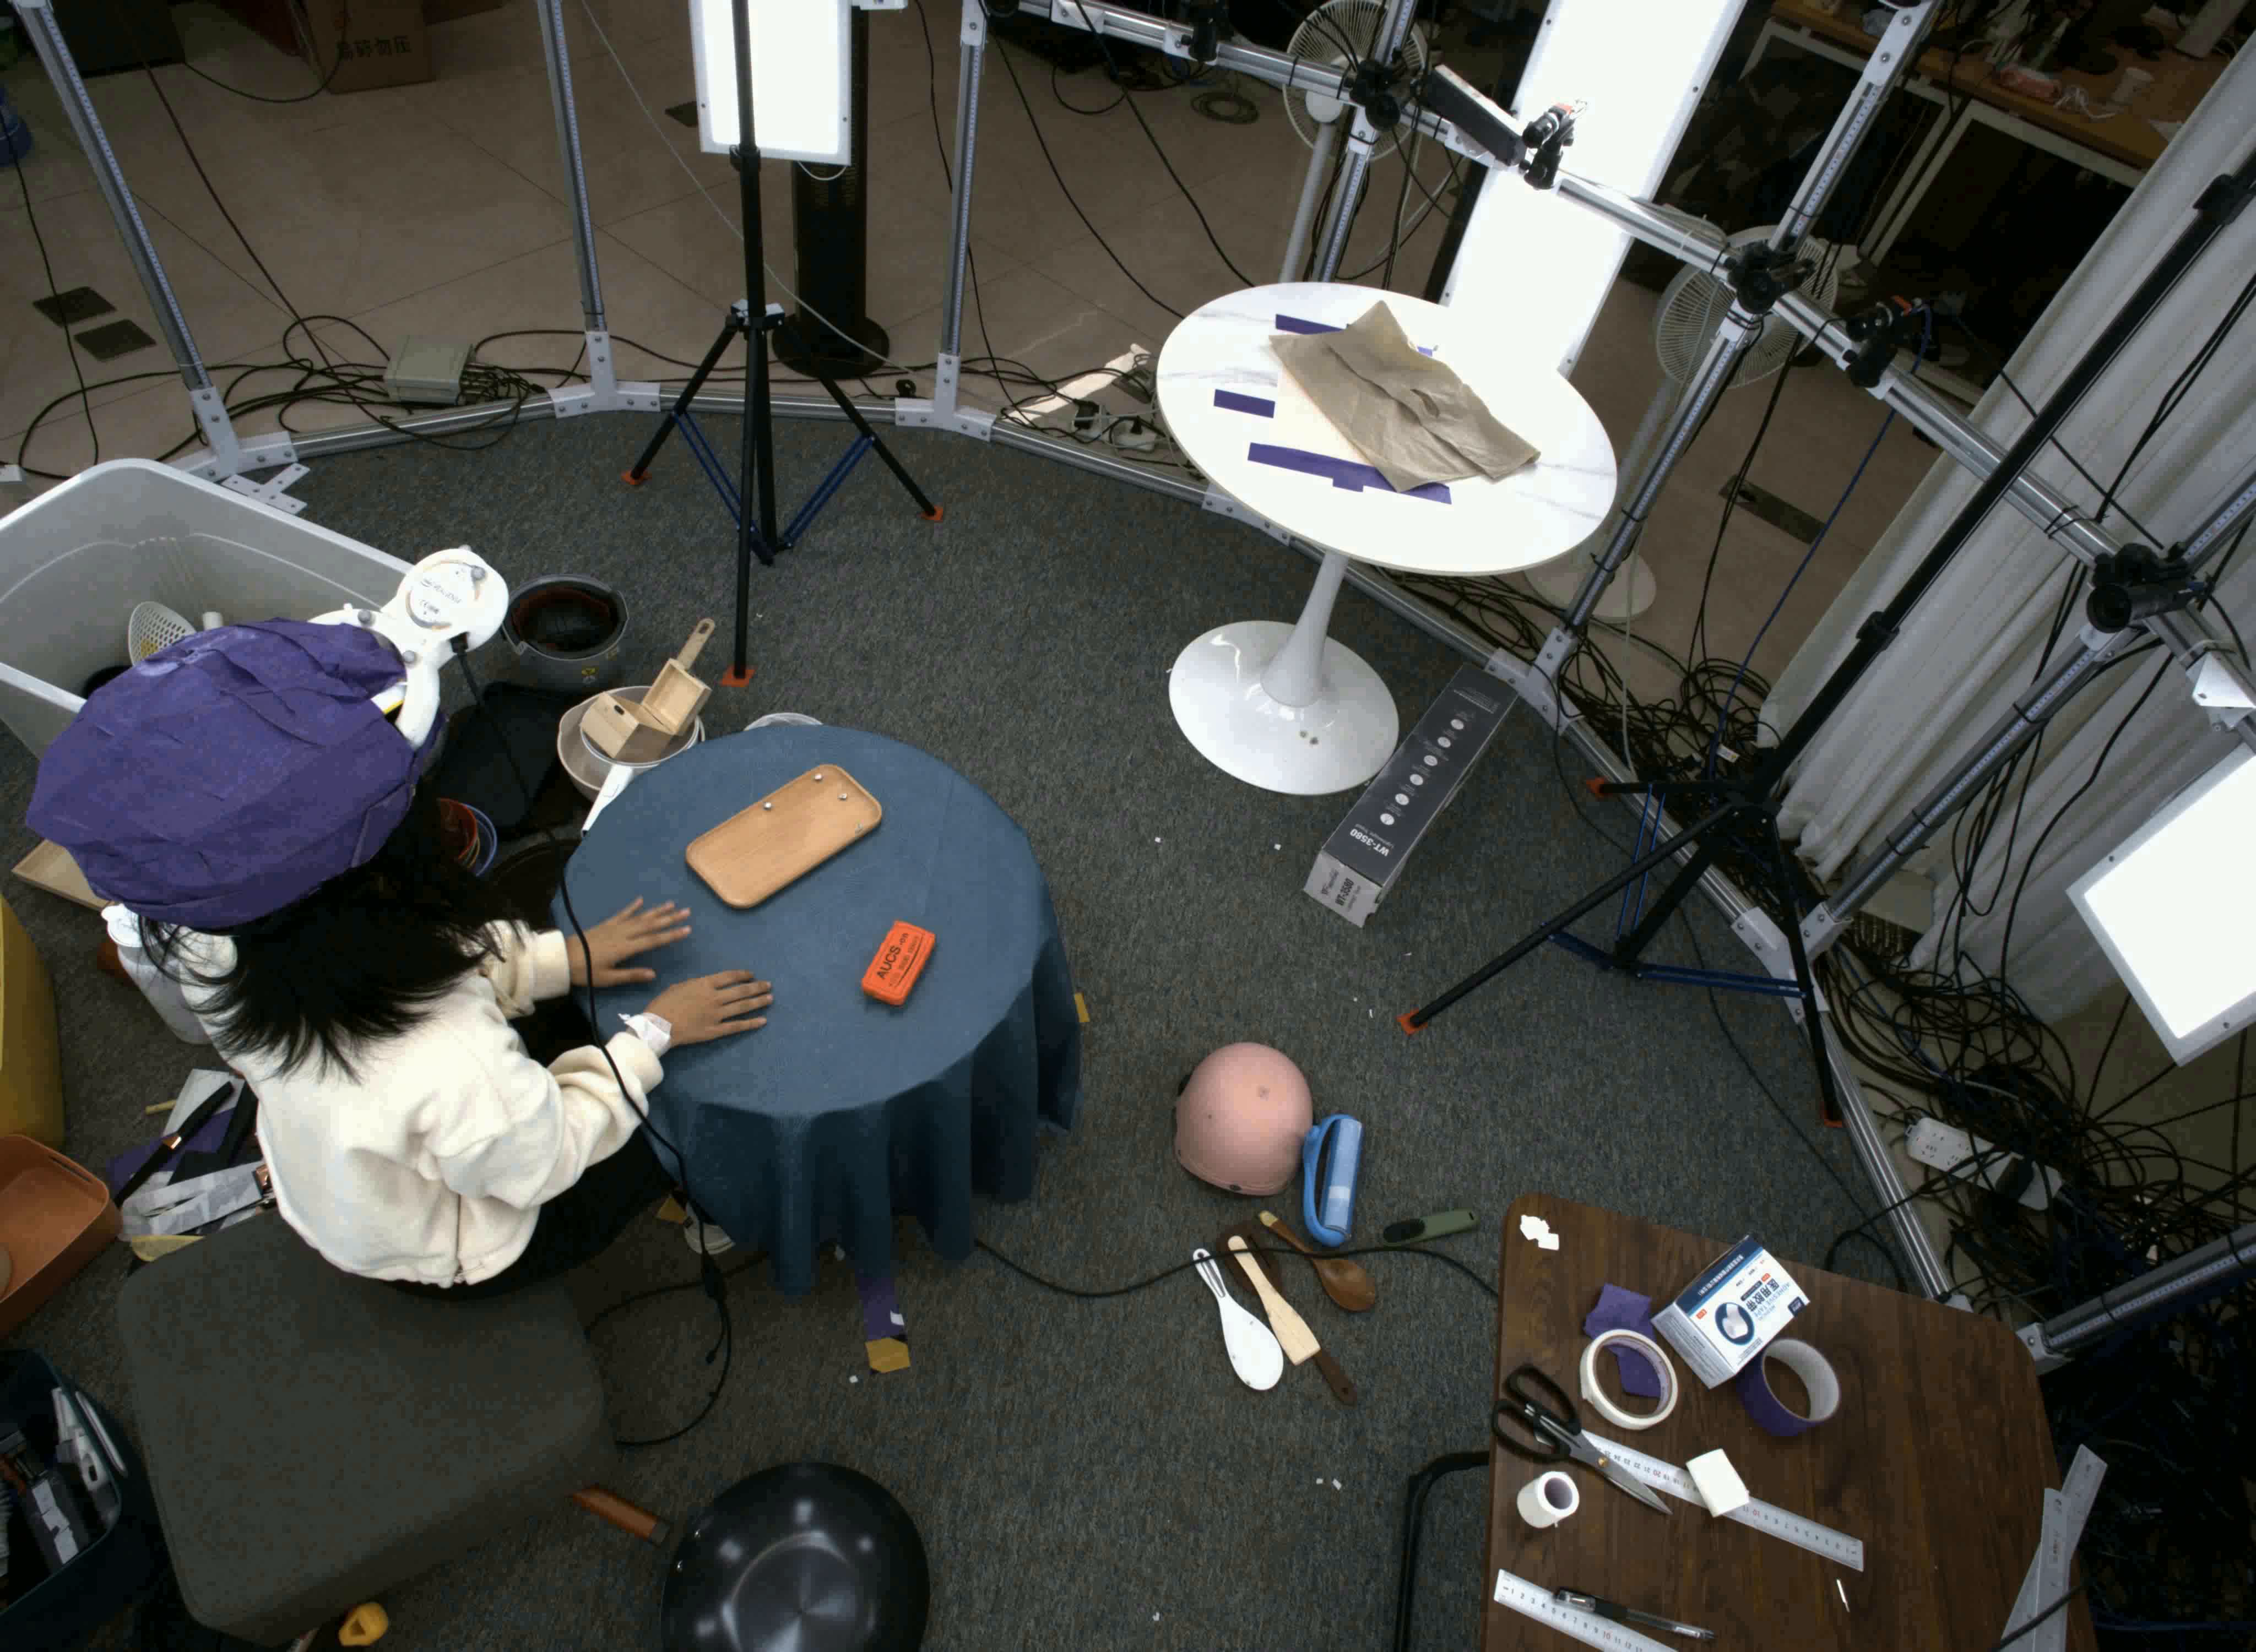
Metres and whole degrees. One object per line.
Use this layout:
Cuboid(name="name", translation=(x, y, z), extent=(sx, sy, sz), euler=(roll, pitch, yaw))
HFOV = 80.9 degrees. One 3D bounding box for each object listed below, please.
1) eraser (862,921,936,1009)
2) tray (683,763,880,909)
Cuboid(name="eraser", translation=(-0.284, 0.170, 1.614), extent=(0.058, 0.023, 0.107), euler=(23, 51, 2))
Cuboid(name="tray", translation=(-0.450, 0.009, 1.693), extent=(0.127, 0.023, 0.251), euler=(41, 55, 20))
